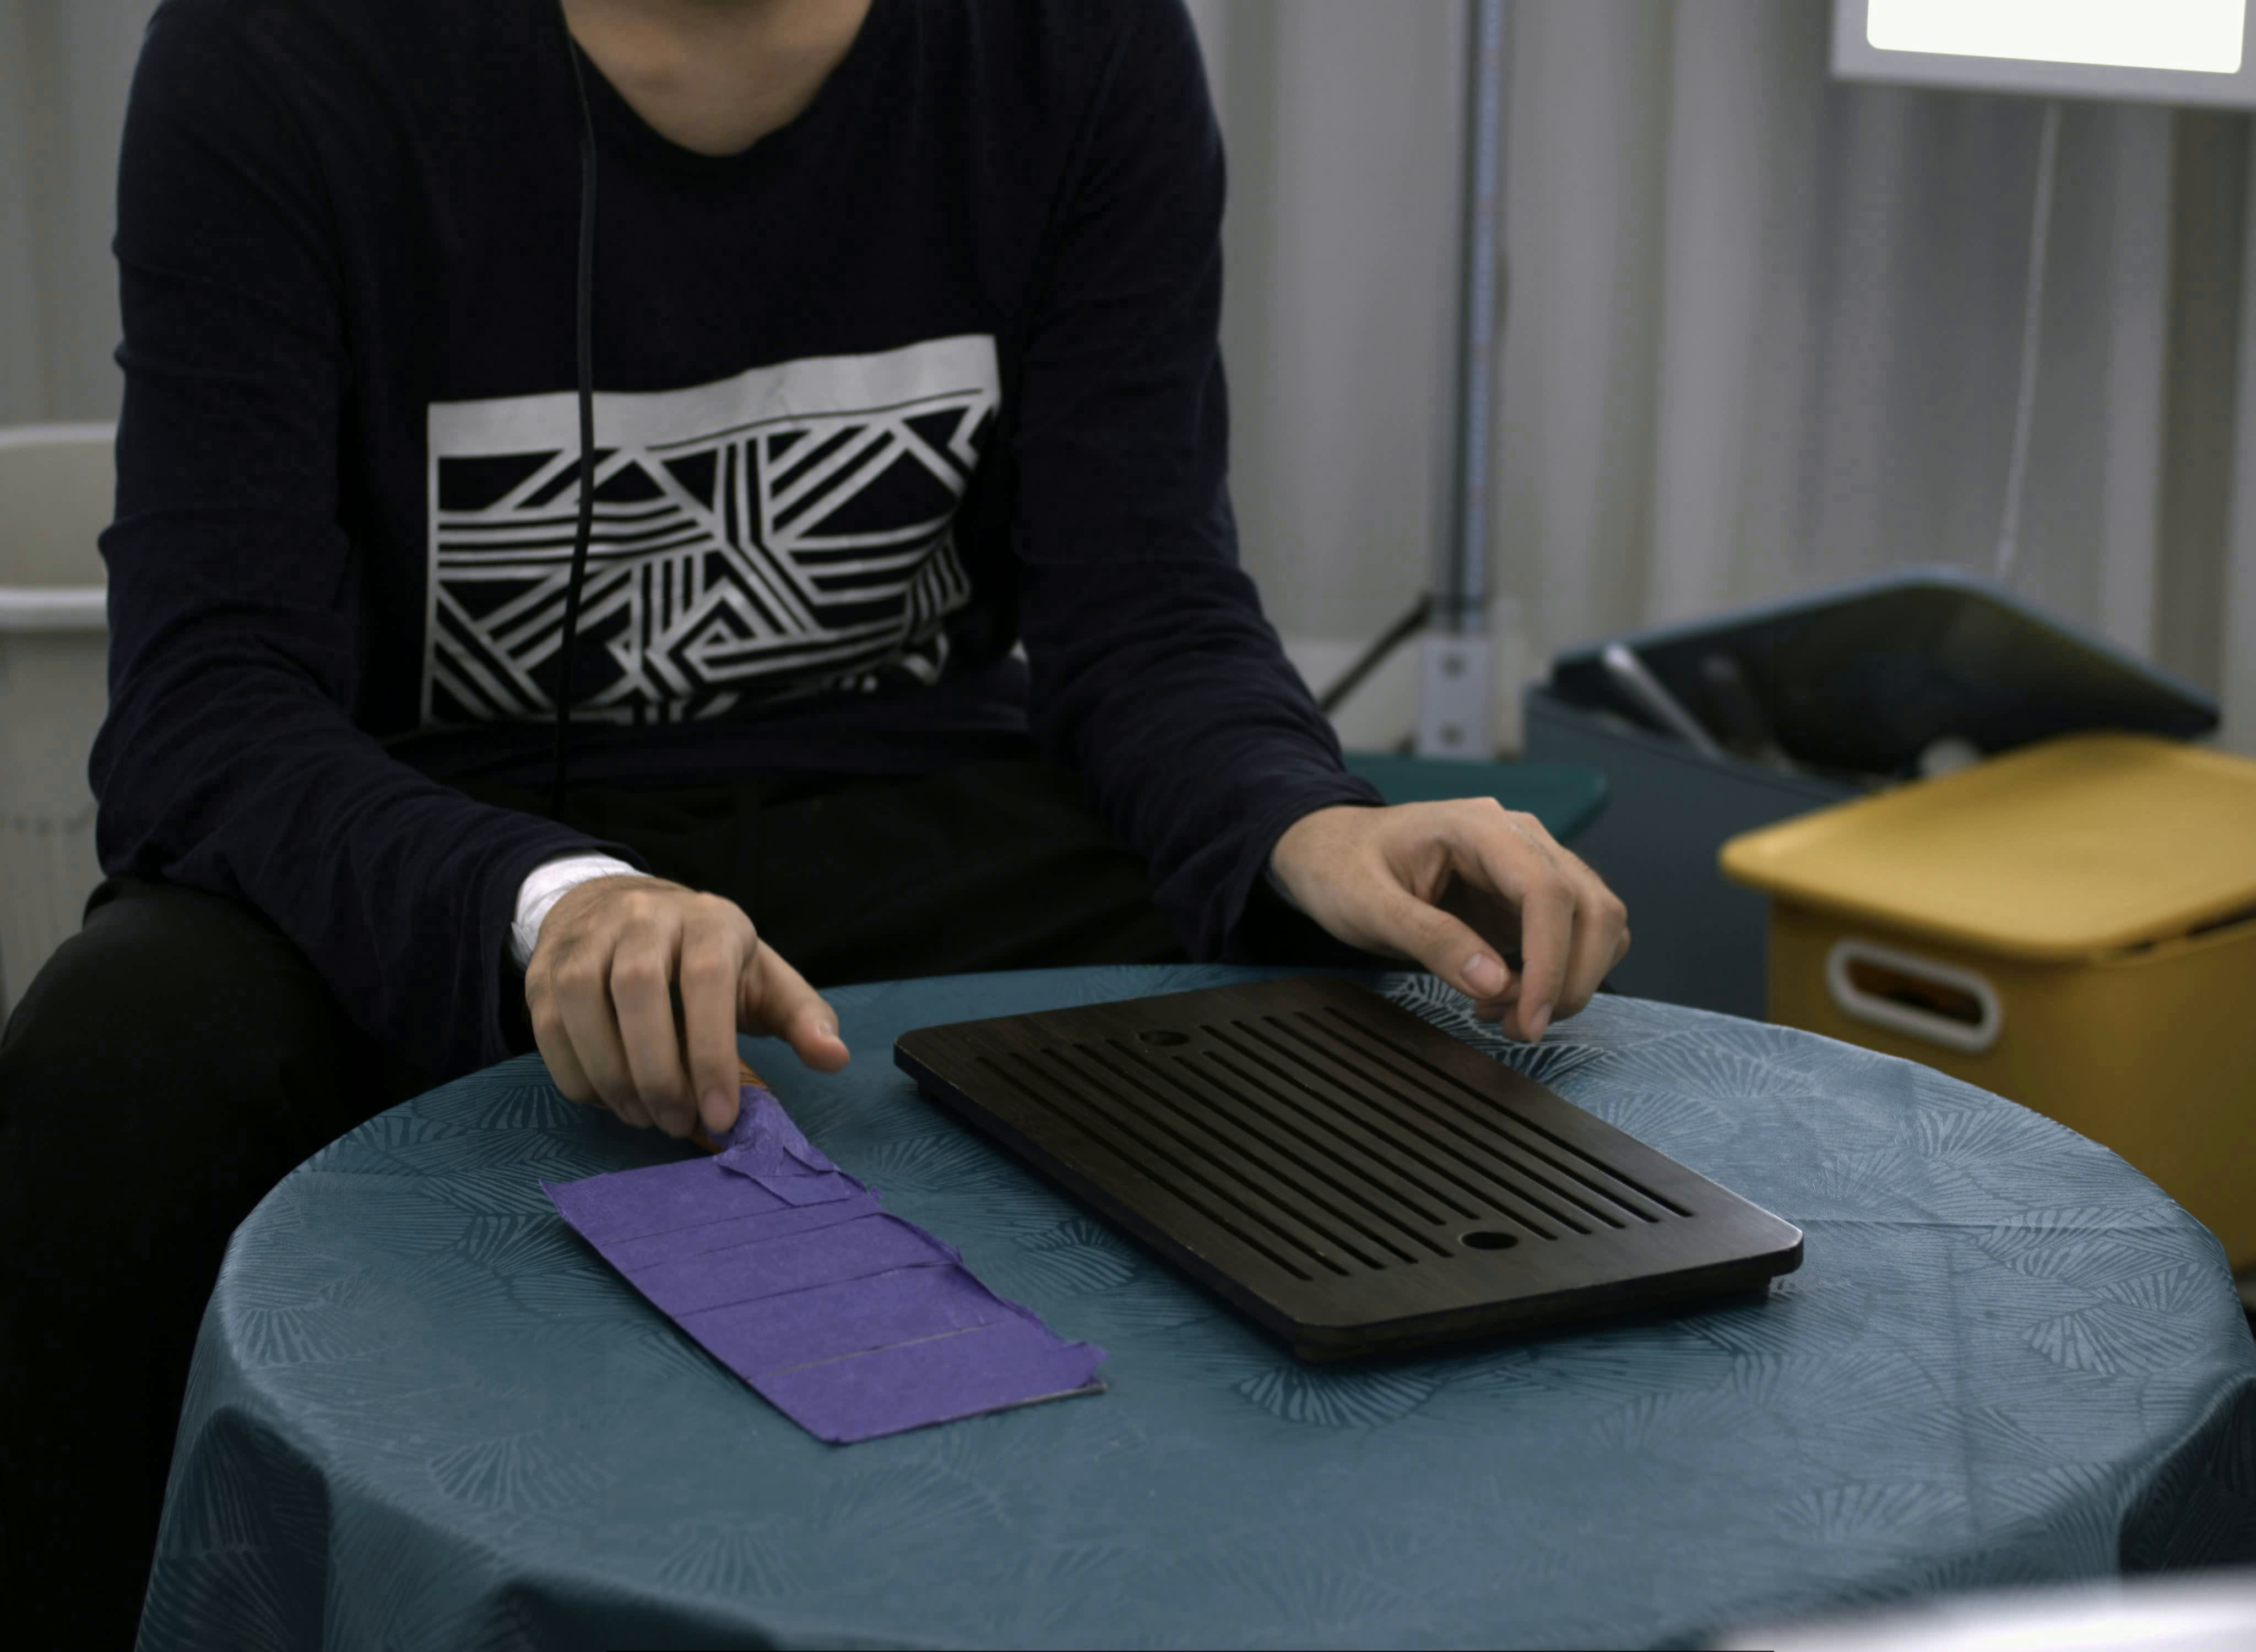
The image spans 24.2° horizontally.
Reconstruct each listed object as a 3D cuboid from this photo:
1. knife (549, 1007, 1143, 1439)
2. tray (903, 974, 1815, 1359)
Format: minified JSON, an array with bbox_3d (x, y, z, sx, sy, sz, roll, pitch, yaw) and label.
[{"bbox_3d":[-0.114,0.114,1.565,0.104,0.032,0.311,-8,18,-28],"label":"knife"},{"bbox_3d":[0.064,0.102,1.632,0.171,0.019,0.302,-7,17,-25],"label":"tray"}]
